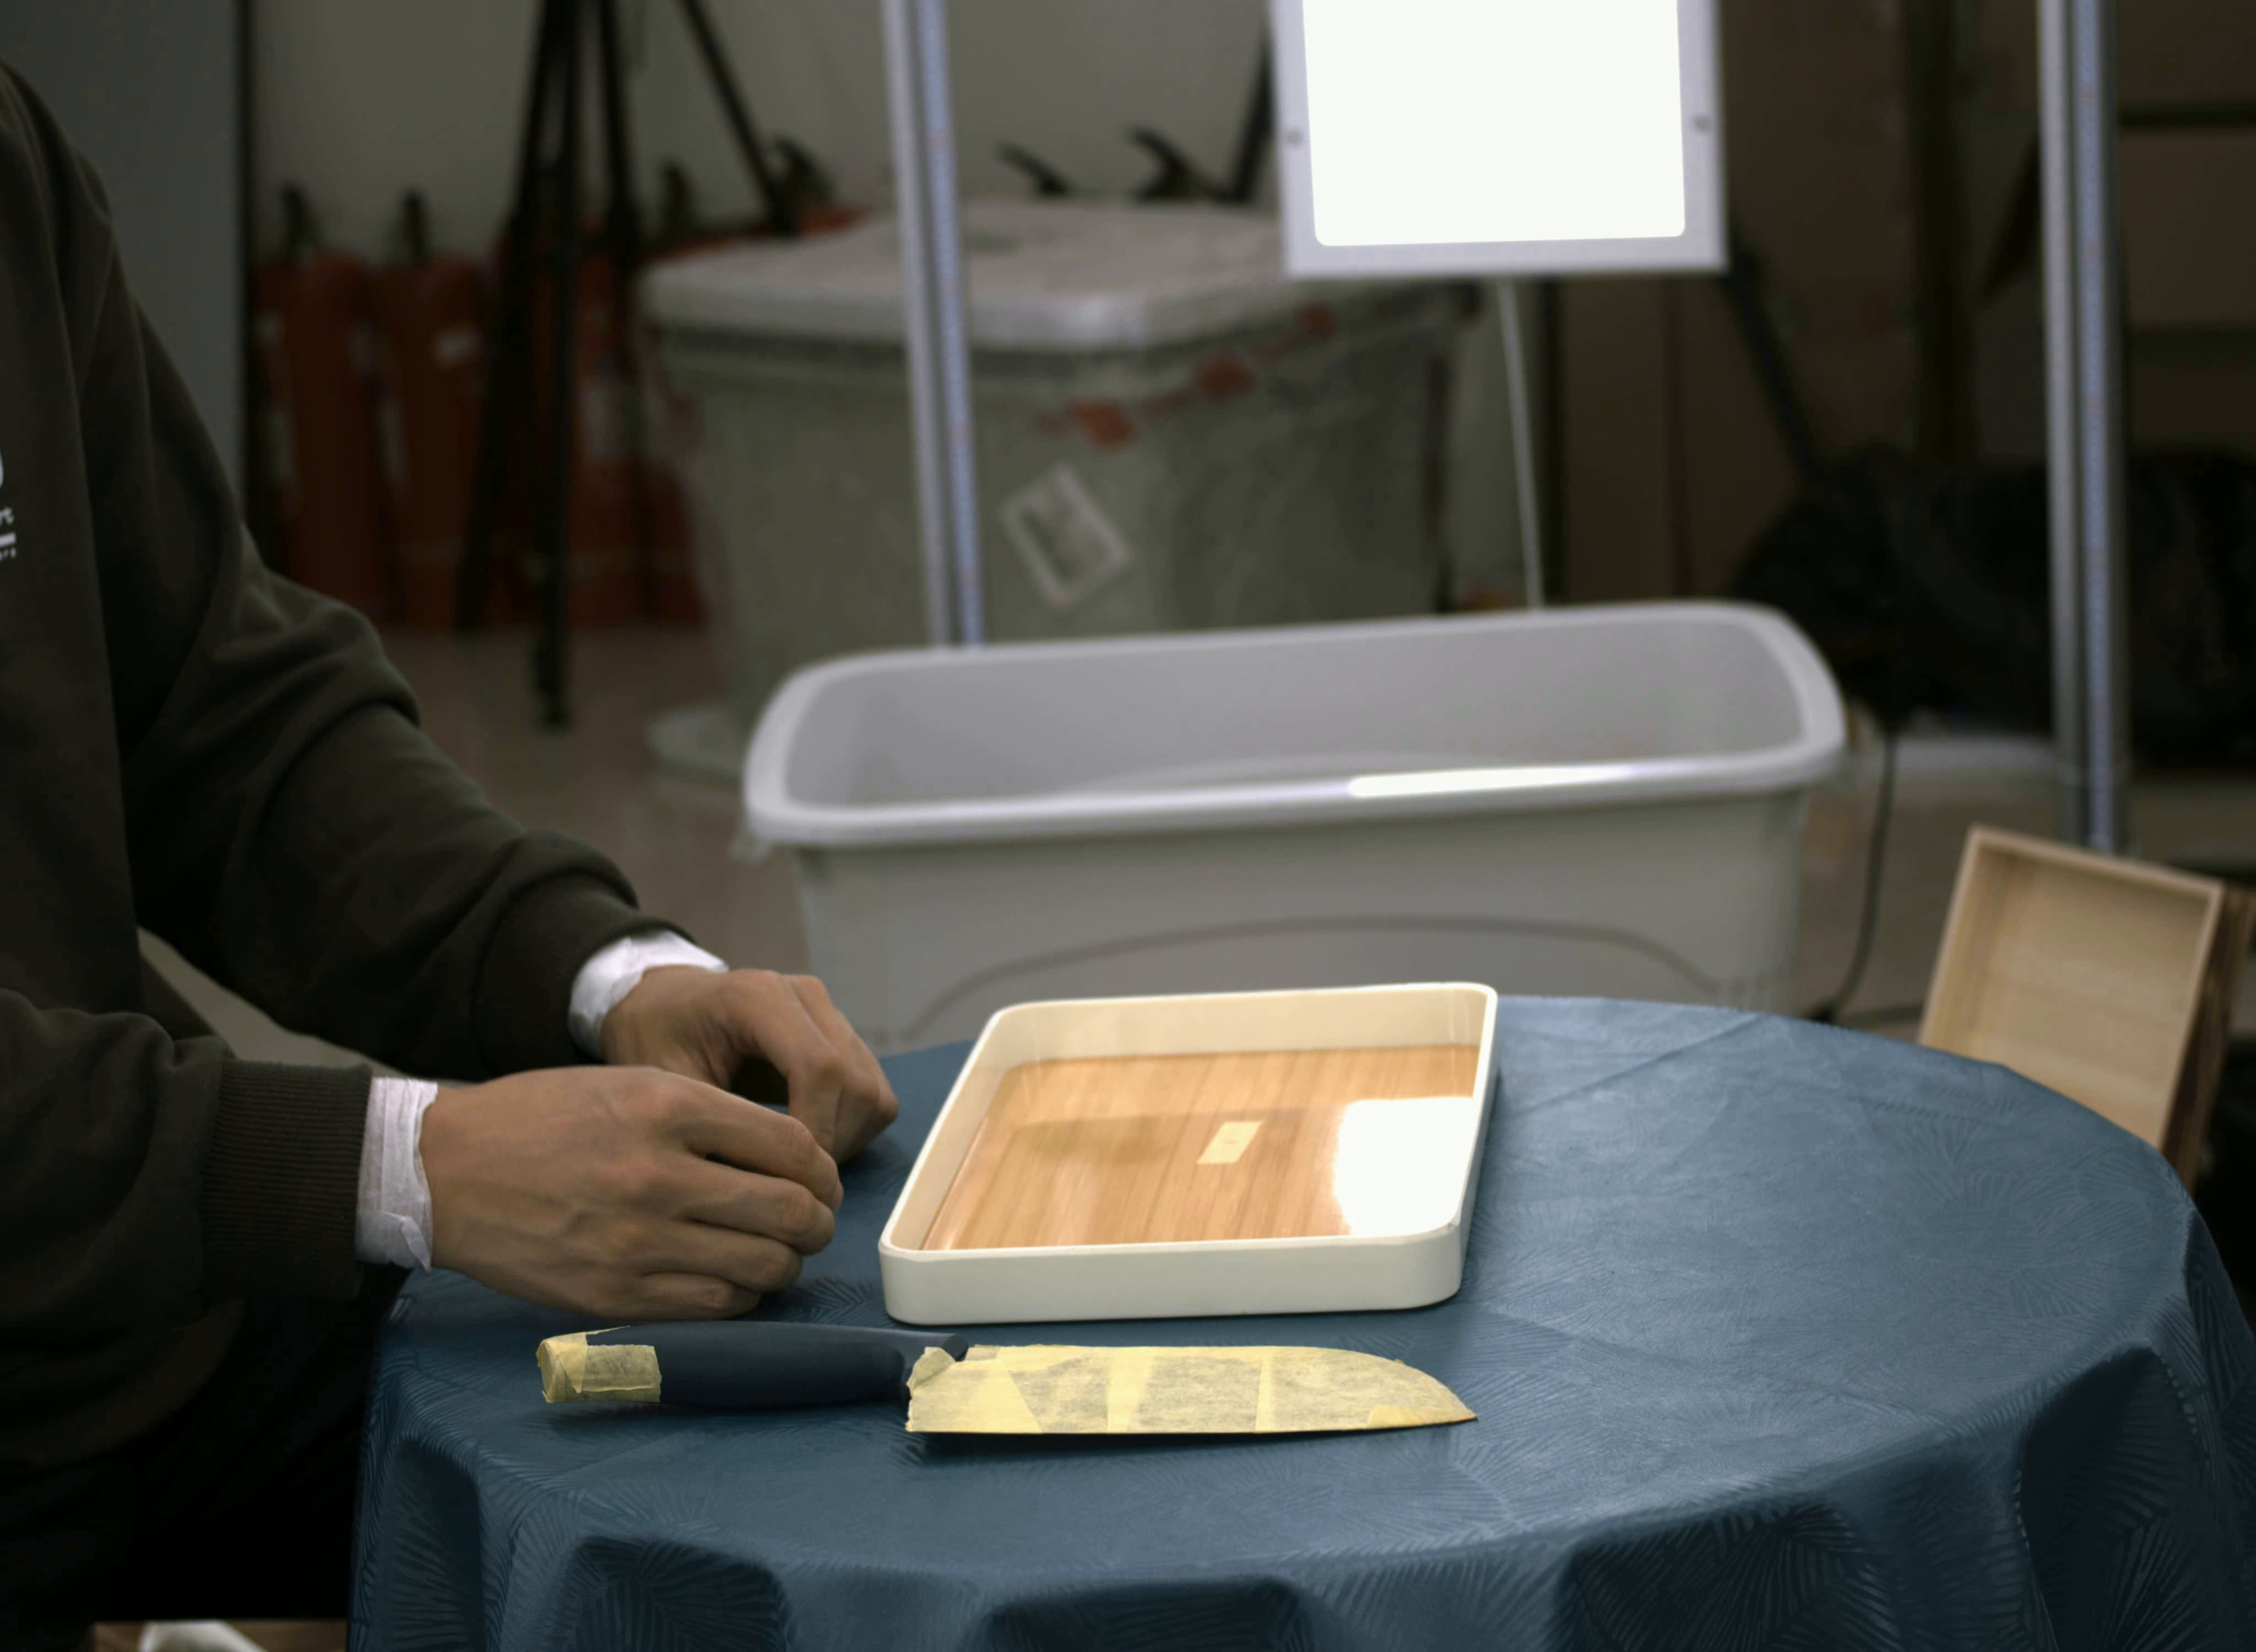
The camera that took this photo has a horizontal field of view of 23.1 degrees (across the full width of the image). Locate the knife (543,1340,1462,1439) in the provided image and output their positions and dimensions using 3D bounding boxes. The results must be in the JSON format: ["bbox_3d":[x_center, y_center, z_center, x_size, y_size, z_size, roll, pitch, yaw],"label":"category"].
[{"bbox_3d":[-0.041,0.174,1.692,0.291,0.027,0.080,-2,12,9],"label":"knife"}]

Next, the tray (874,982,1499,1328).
[{"bbox_3d":[0.027,0.110,1.904,0.192,0.027,0.297,-4,13,9],"label":"tray"}]
